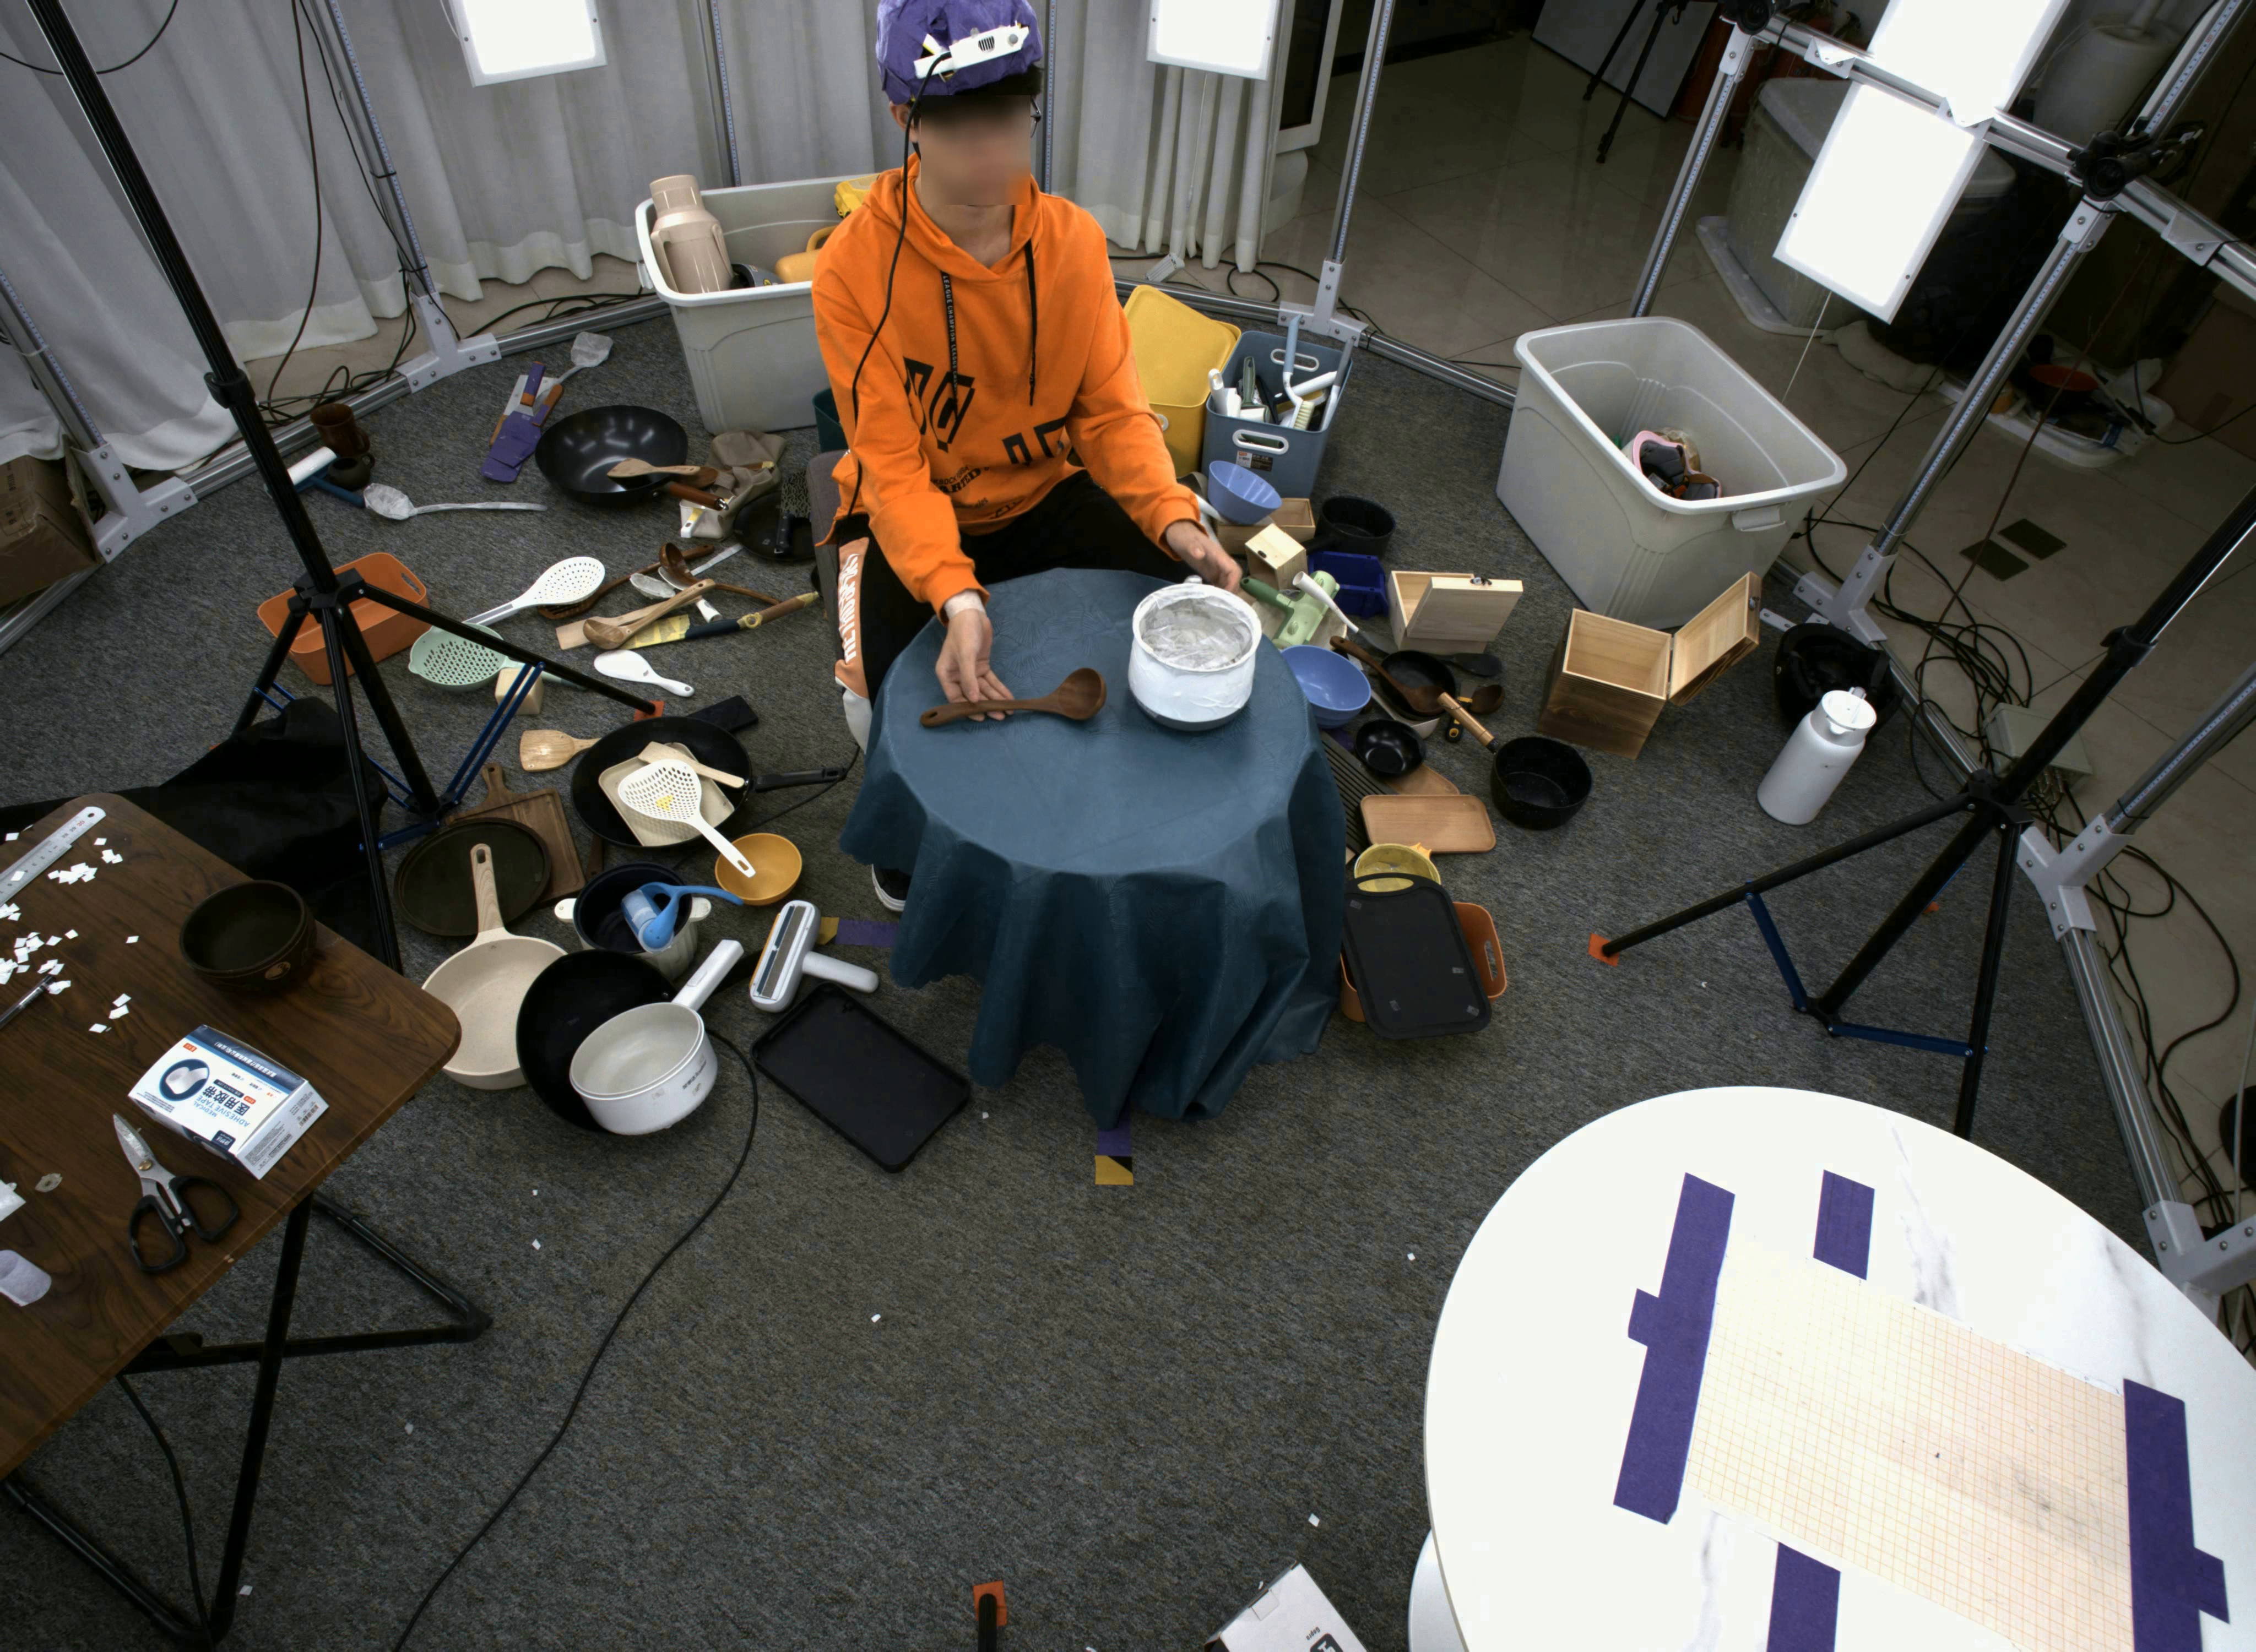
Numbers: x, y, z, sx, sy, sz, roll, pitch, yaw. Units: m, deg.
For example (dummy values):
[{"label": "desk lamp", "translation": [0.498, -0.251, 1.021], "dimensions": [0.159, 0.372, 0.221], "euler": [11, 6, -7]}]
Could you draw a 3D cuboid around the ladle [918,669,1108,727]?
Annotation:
[{"label": "ladle", "translation": [-0.157, -0.171, 1.766], "dimensions": [0.260, 0.064, 0.078], "euler": [-6, 59, -10]}]

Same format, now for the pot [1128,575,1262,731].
[{"label": "pot", "translation": [0.089, -0.252, 1.805], "dimensions": [0.178, 0.133, 0.239], "euler": [1, 49, -4]}]
